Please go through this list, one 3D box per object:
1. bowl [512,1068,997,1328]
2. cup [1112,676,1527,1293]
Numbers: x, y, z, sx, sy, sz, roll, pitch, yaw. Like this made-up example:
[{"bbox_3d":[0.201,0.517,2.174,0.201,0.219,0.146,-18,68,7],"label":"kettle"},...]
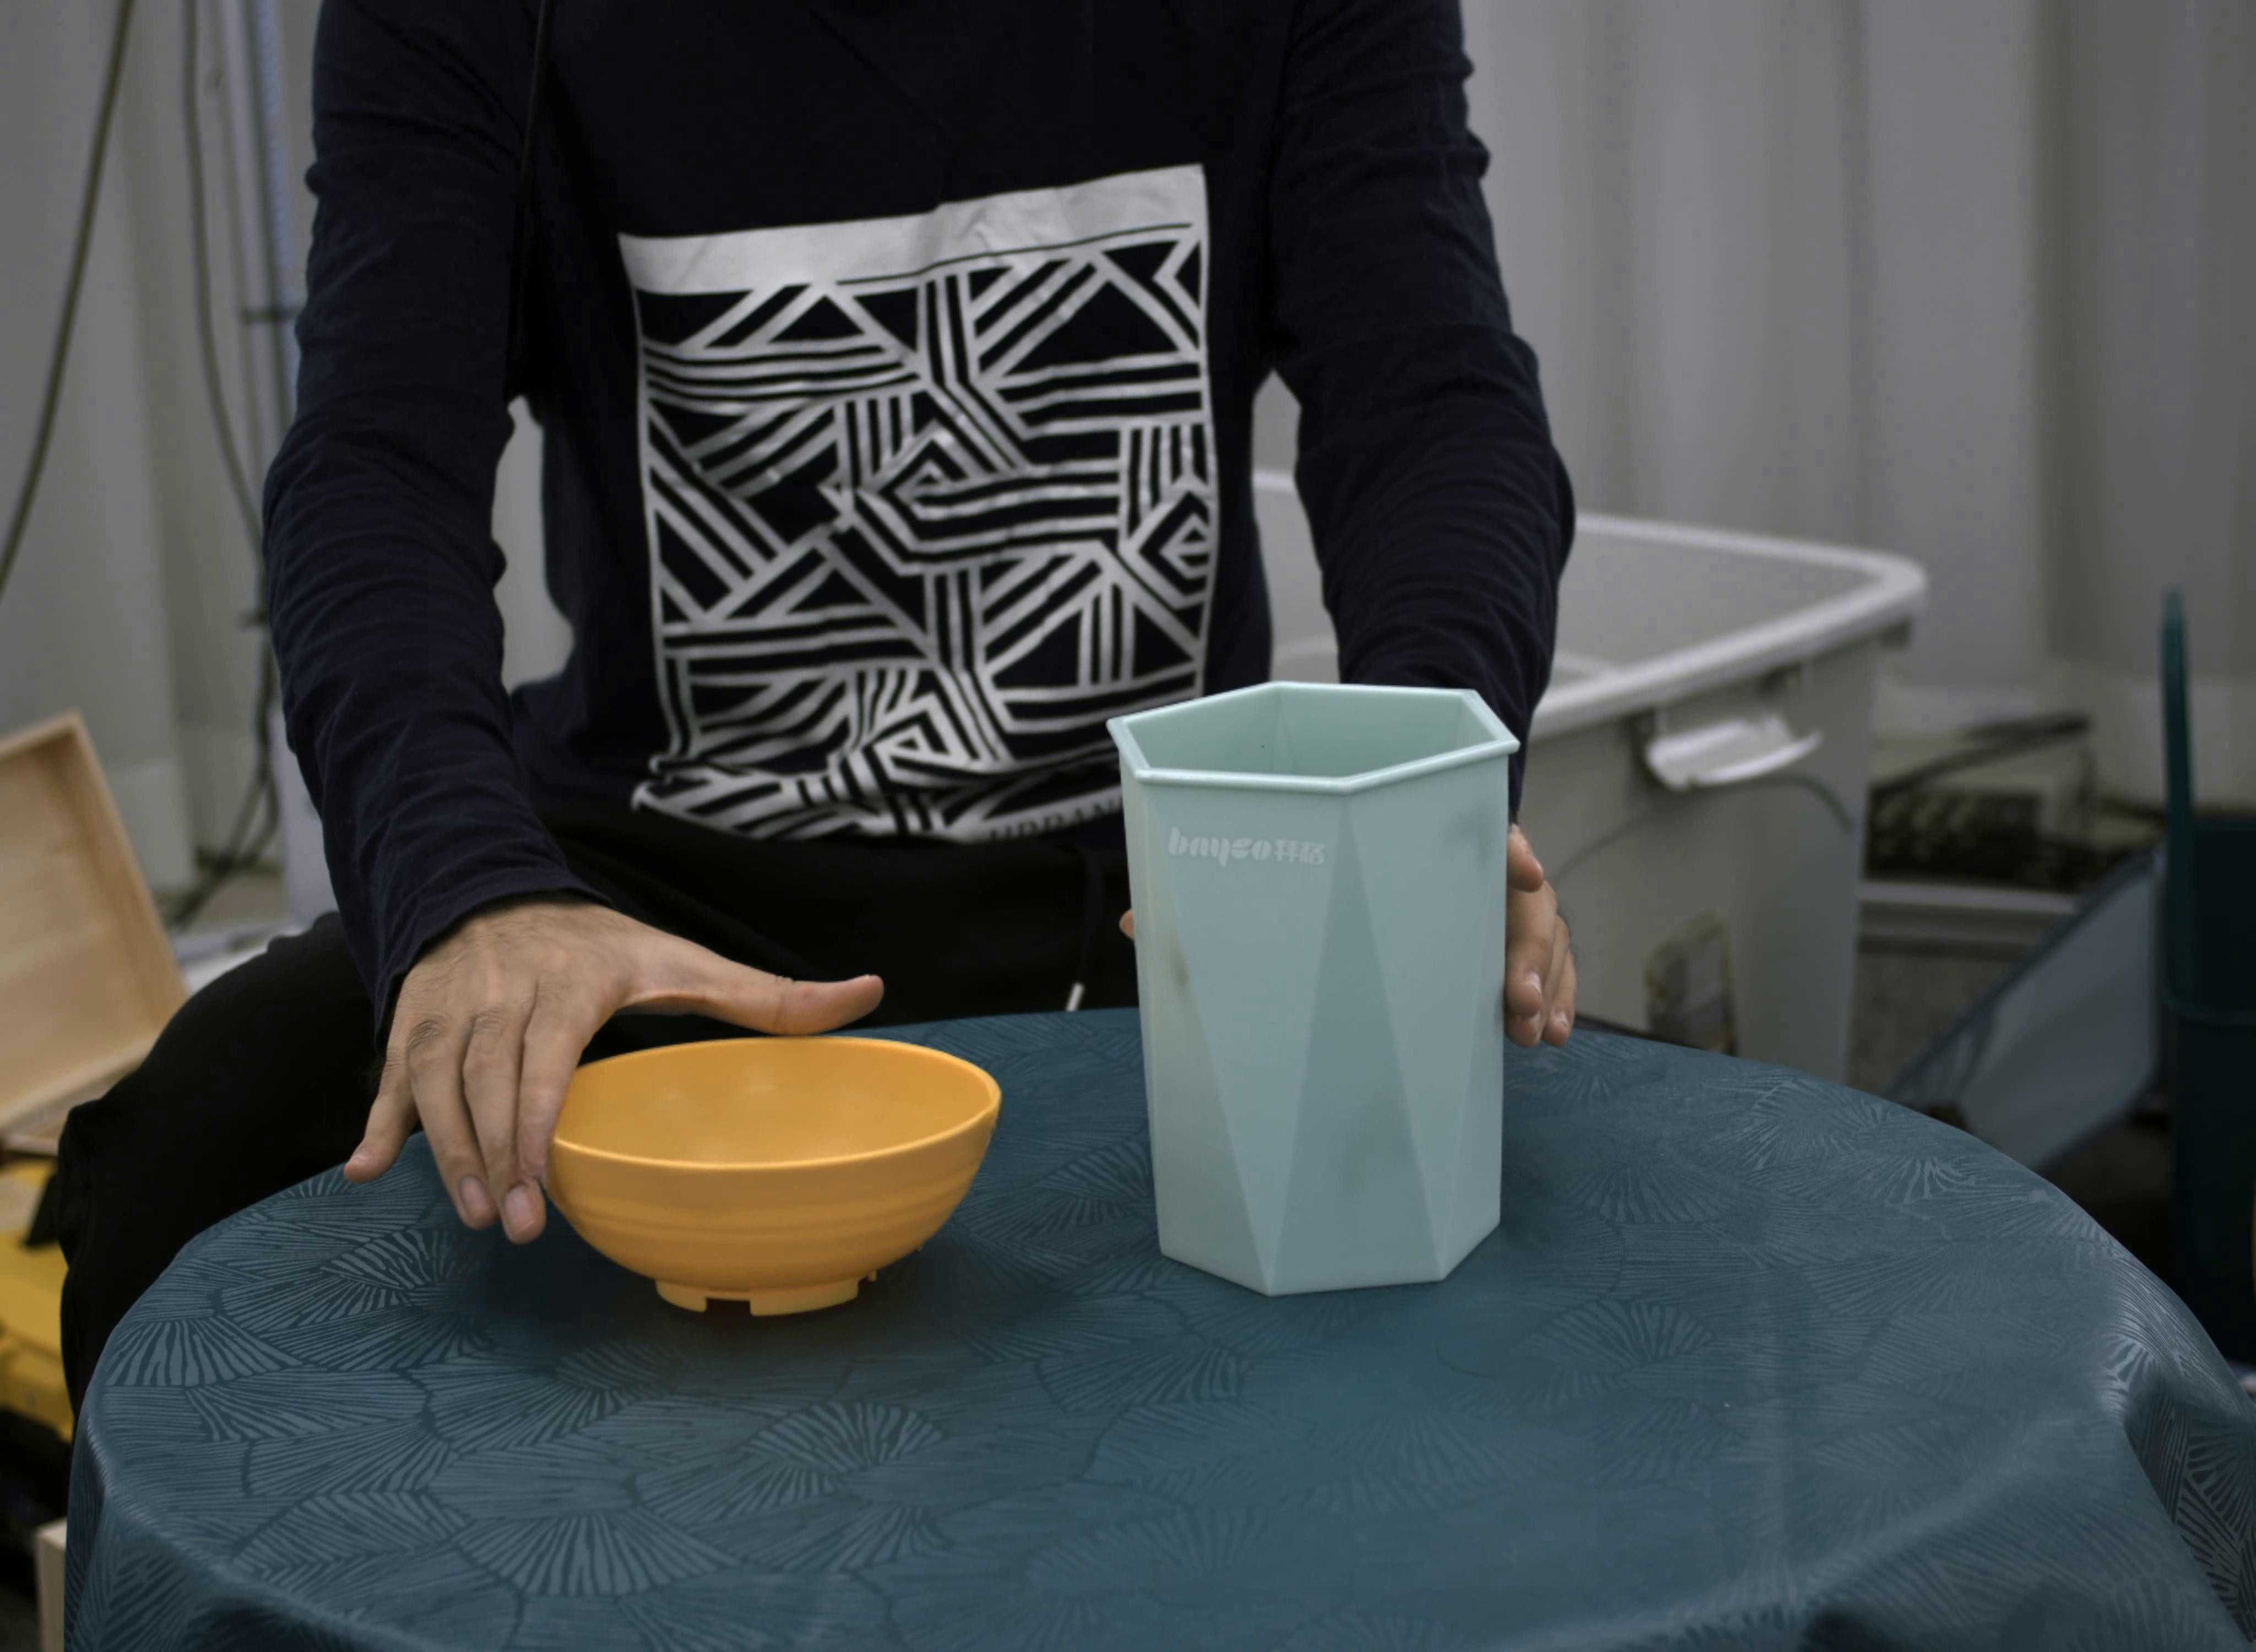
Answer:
[{"bbox_3d":[-0.111,0.115,1.640,0.145,0.060,0.146,-1,7,0],"label":"bowl"},{"bbox_3d":[0.057,0.048,1.641,0.131,0.162,0.115,4,13,19],"label":"cup"}]
